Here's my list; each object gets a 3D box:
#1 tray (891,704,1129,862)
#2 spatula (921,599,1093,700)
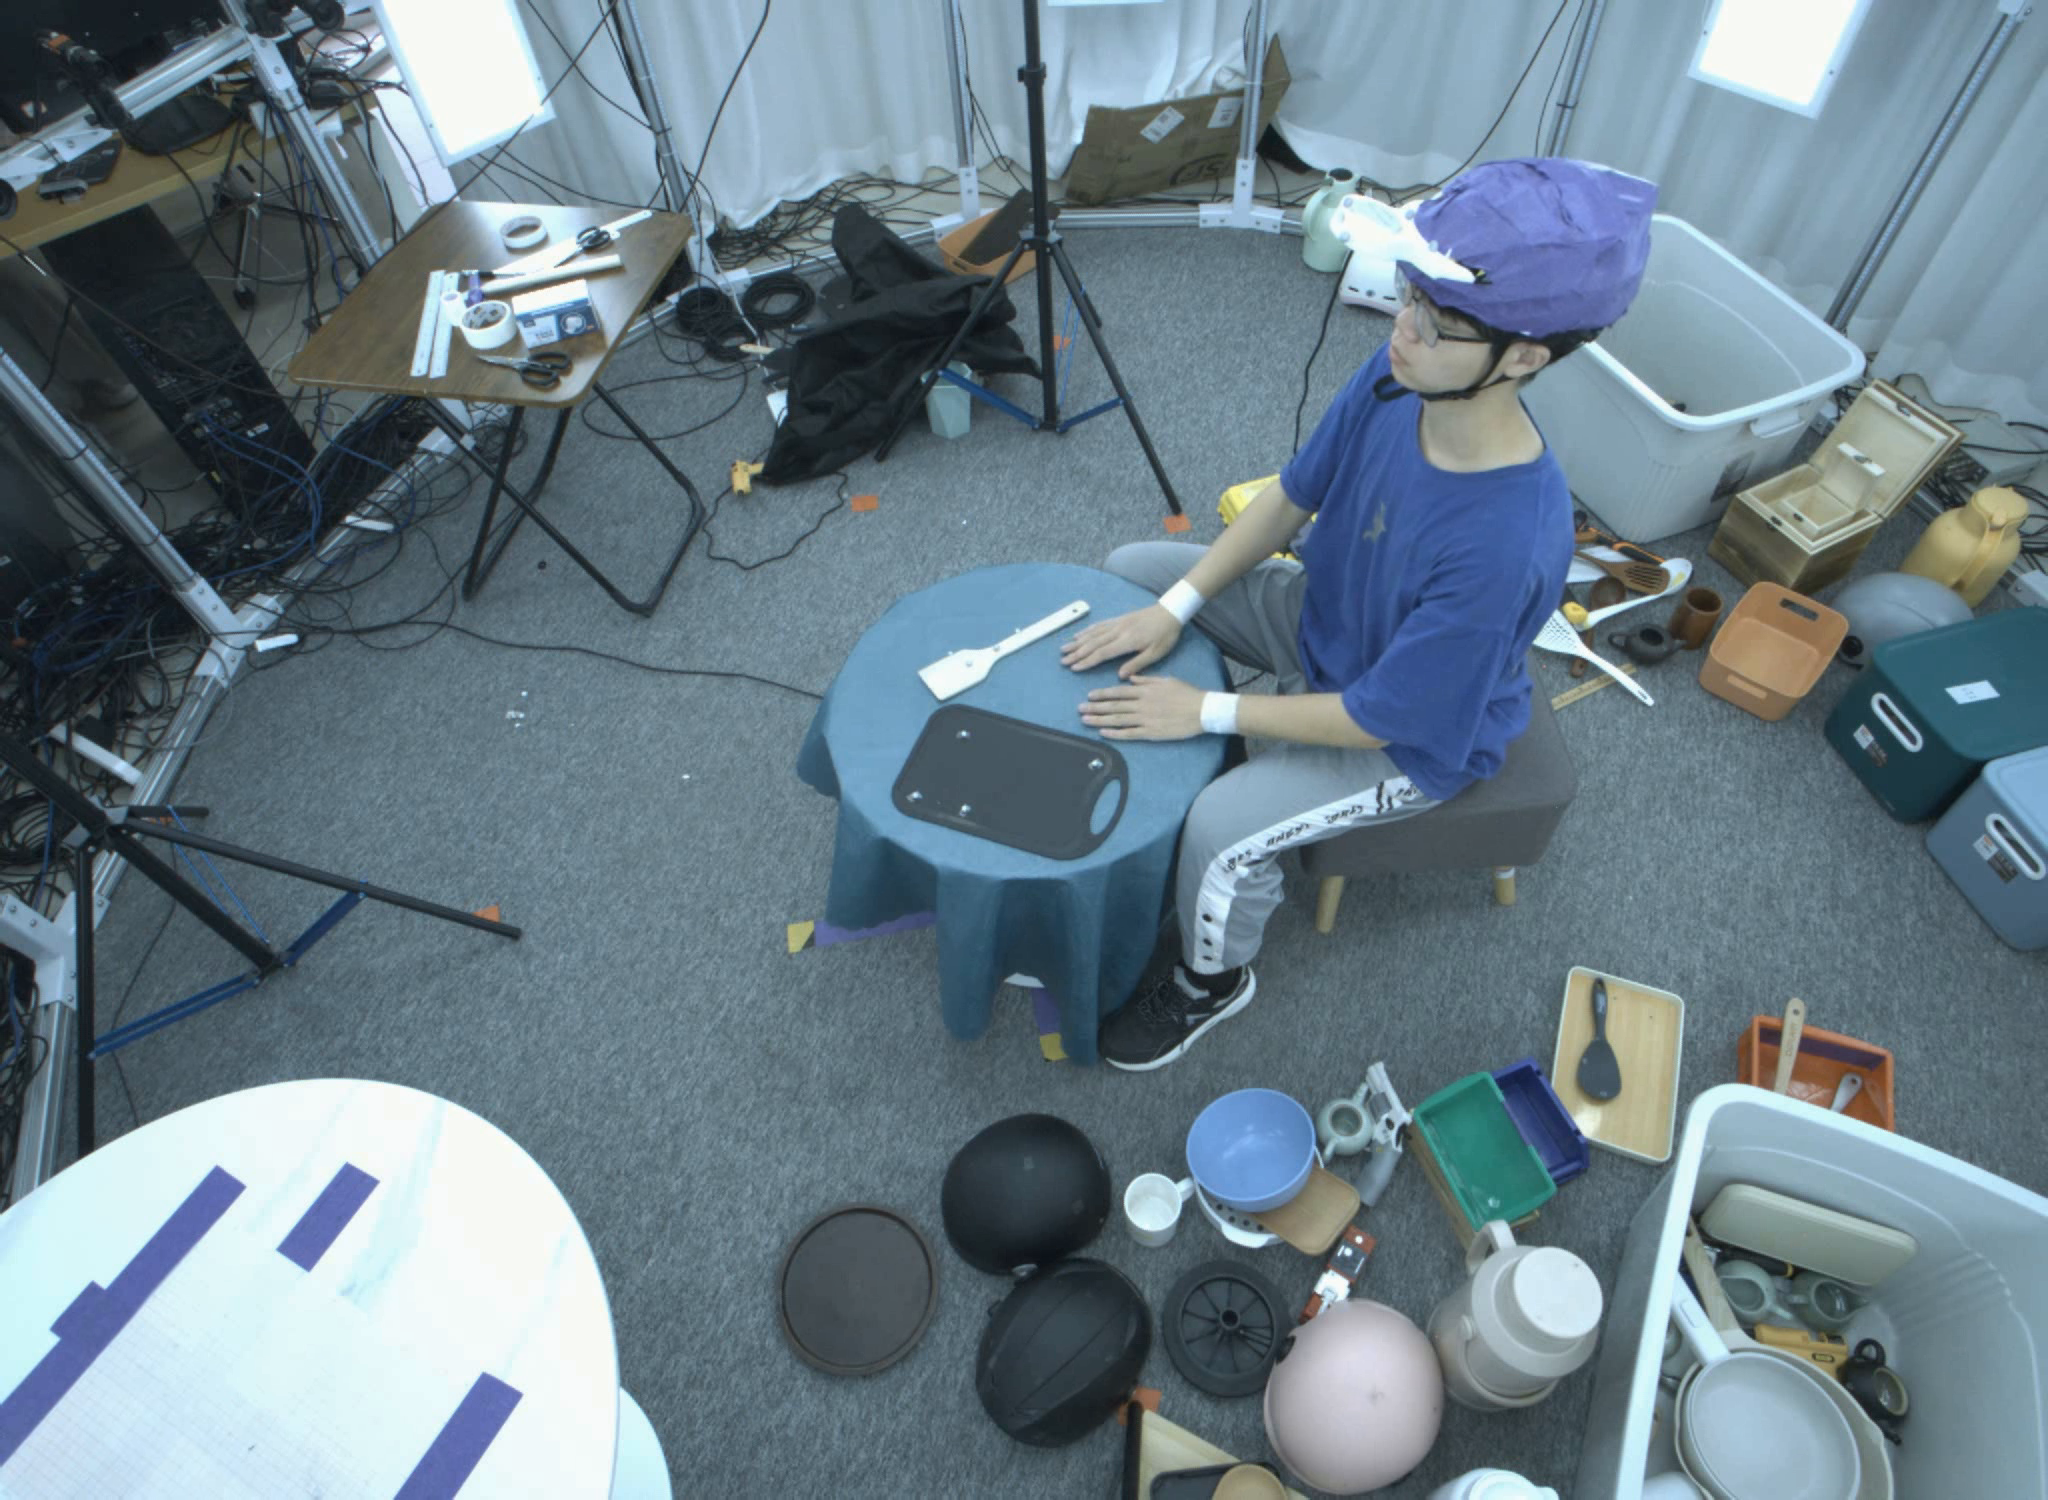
[{"bbox_3d":[-0.013,0.042,1.744,0.322,0.010,0.211,16,57,13],"label":"tray"},{"bbox_3d":[-0.019,-0.163,1.890,0.295,0.011,0.071,-29,57,-17],"label":"spatula"}]
